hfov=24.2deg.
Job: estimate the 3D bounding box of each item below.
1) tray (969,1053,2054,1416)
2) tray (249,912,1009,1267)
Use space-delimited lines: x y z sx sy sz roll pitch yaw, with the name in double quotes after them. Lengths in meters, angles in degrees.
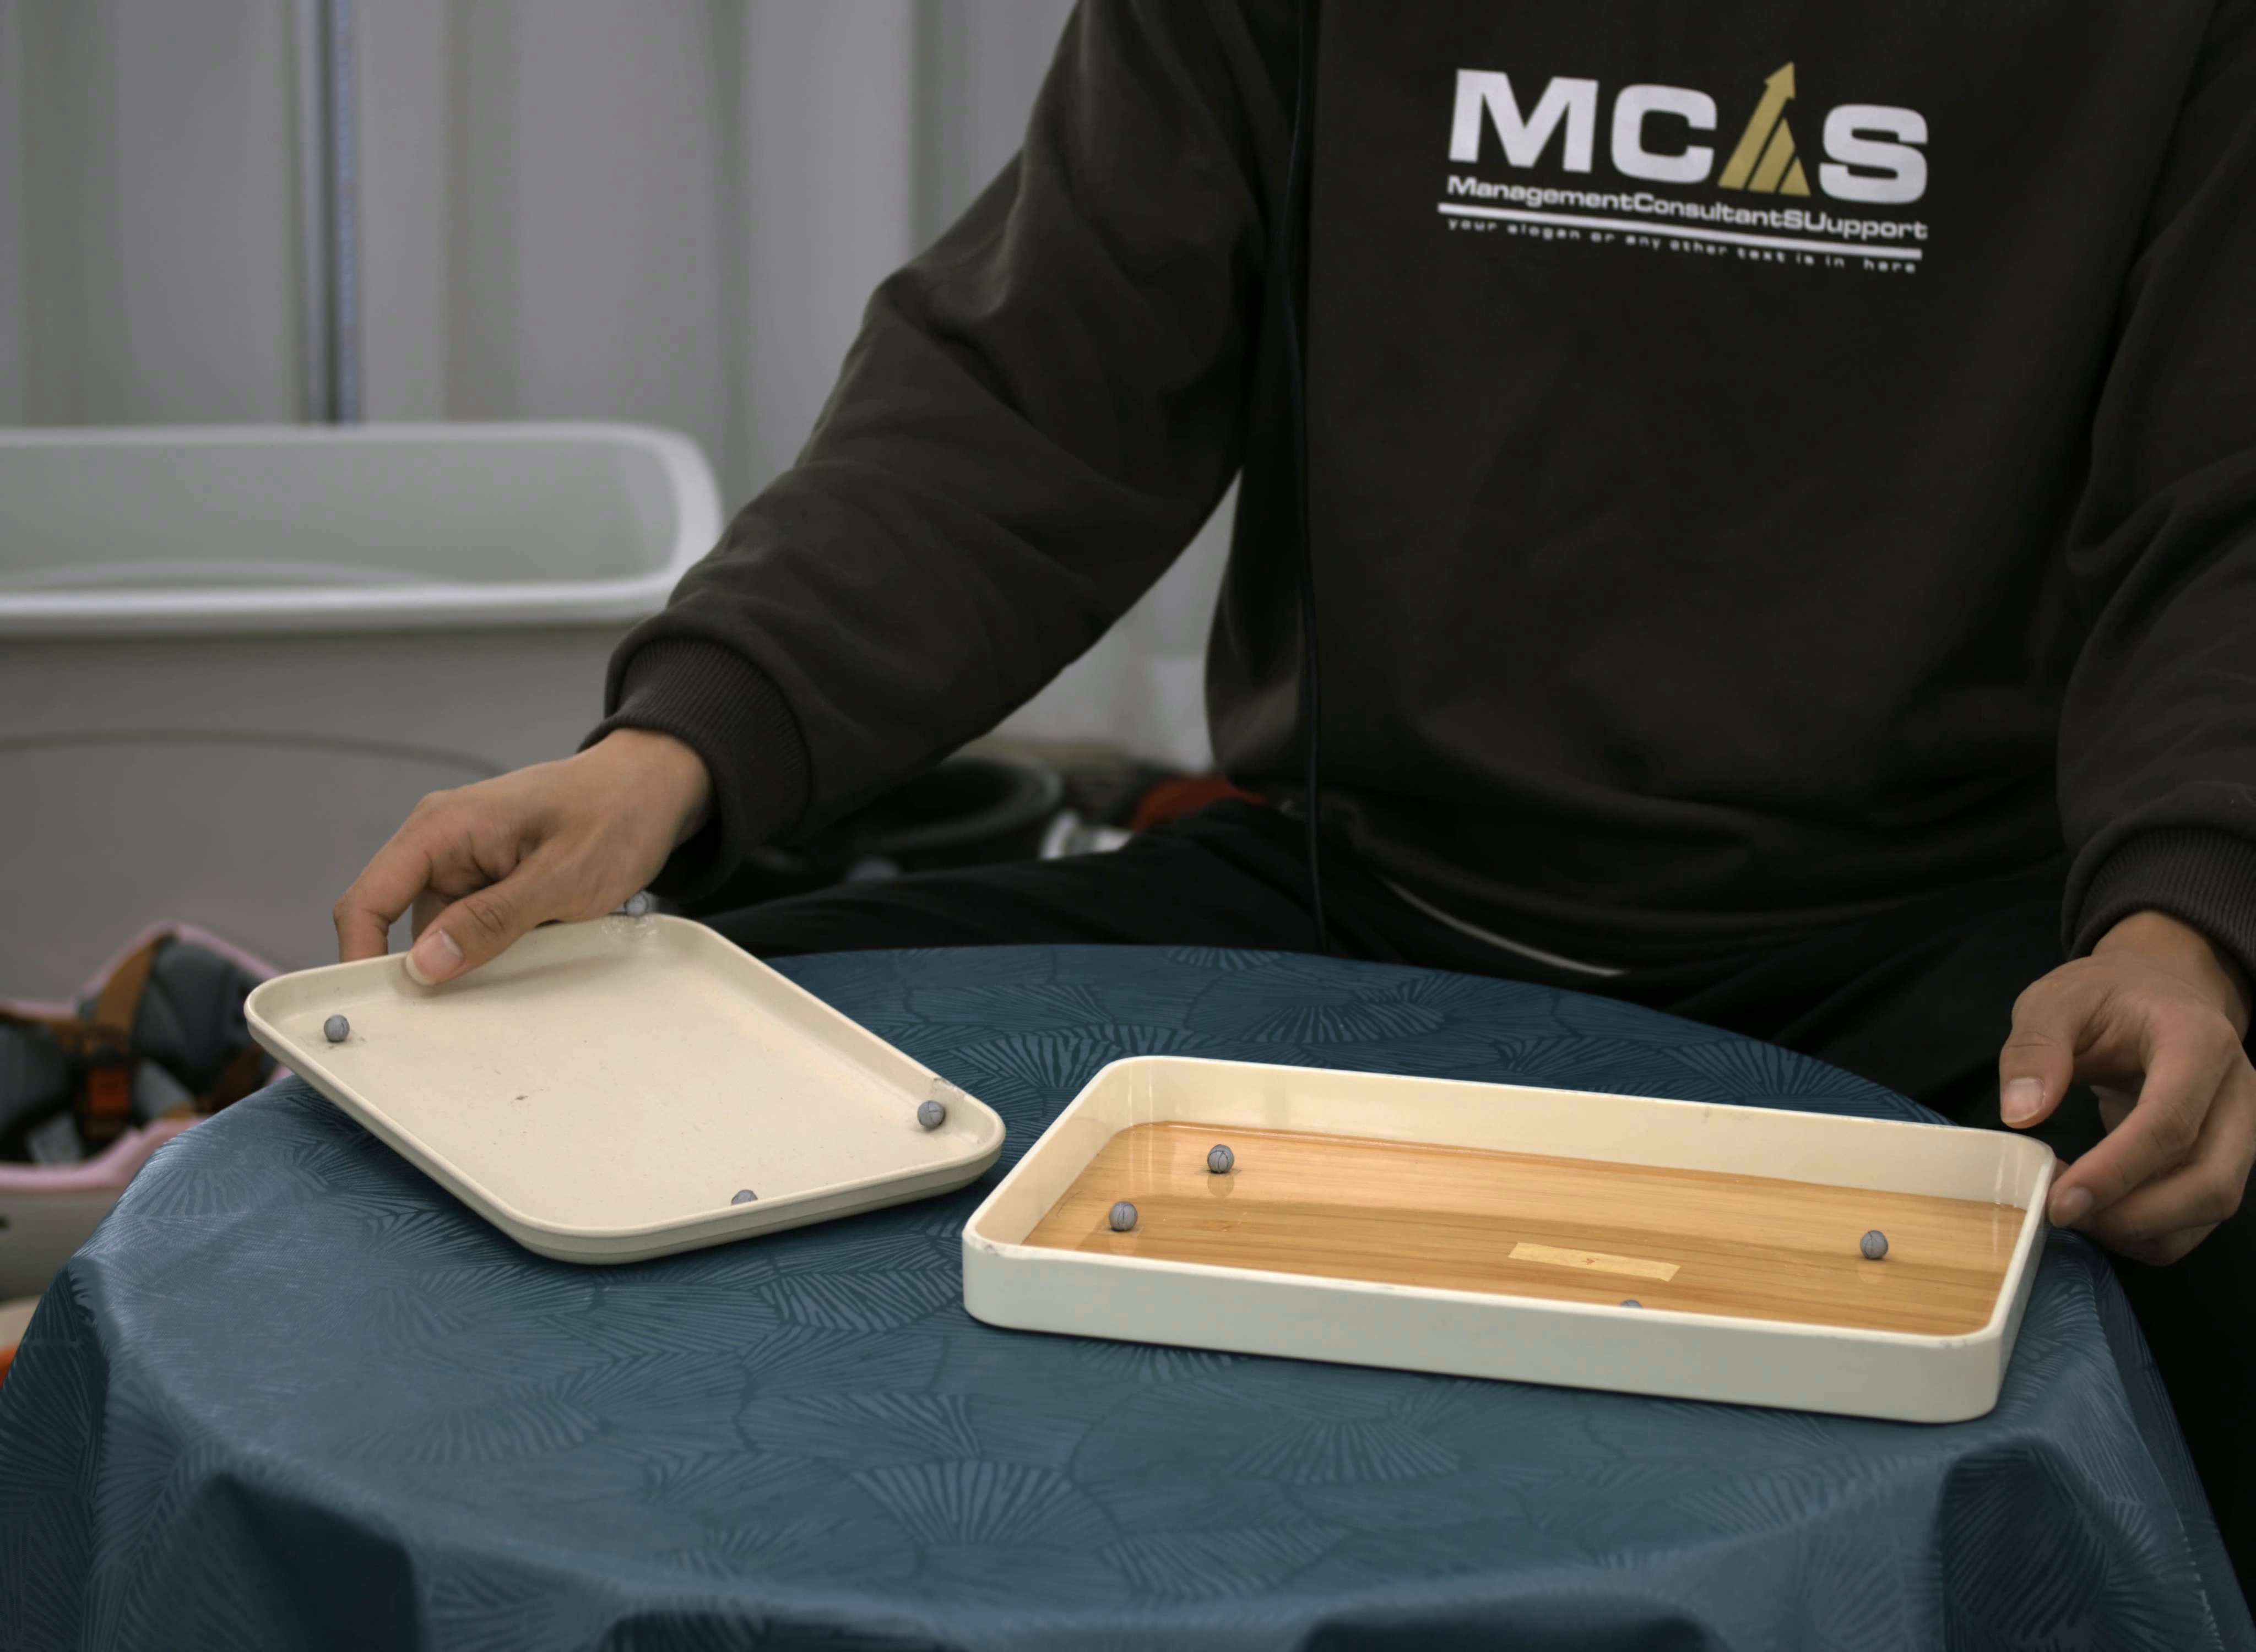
0.118 0.119 1.566 0.298 0.027 0.191 5 16 13 "tray"
-0.161 0.081 1.669 0.172 0.017 0.236 -11 24 -32 "tray"
